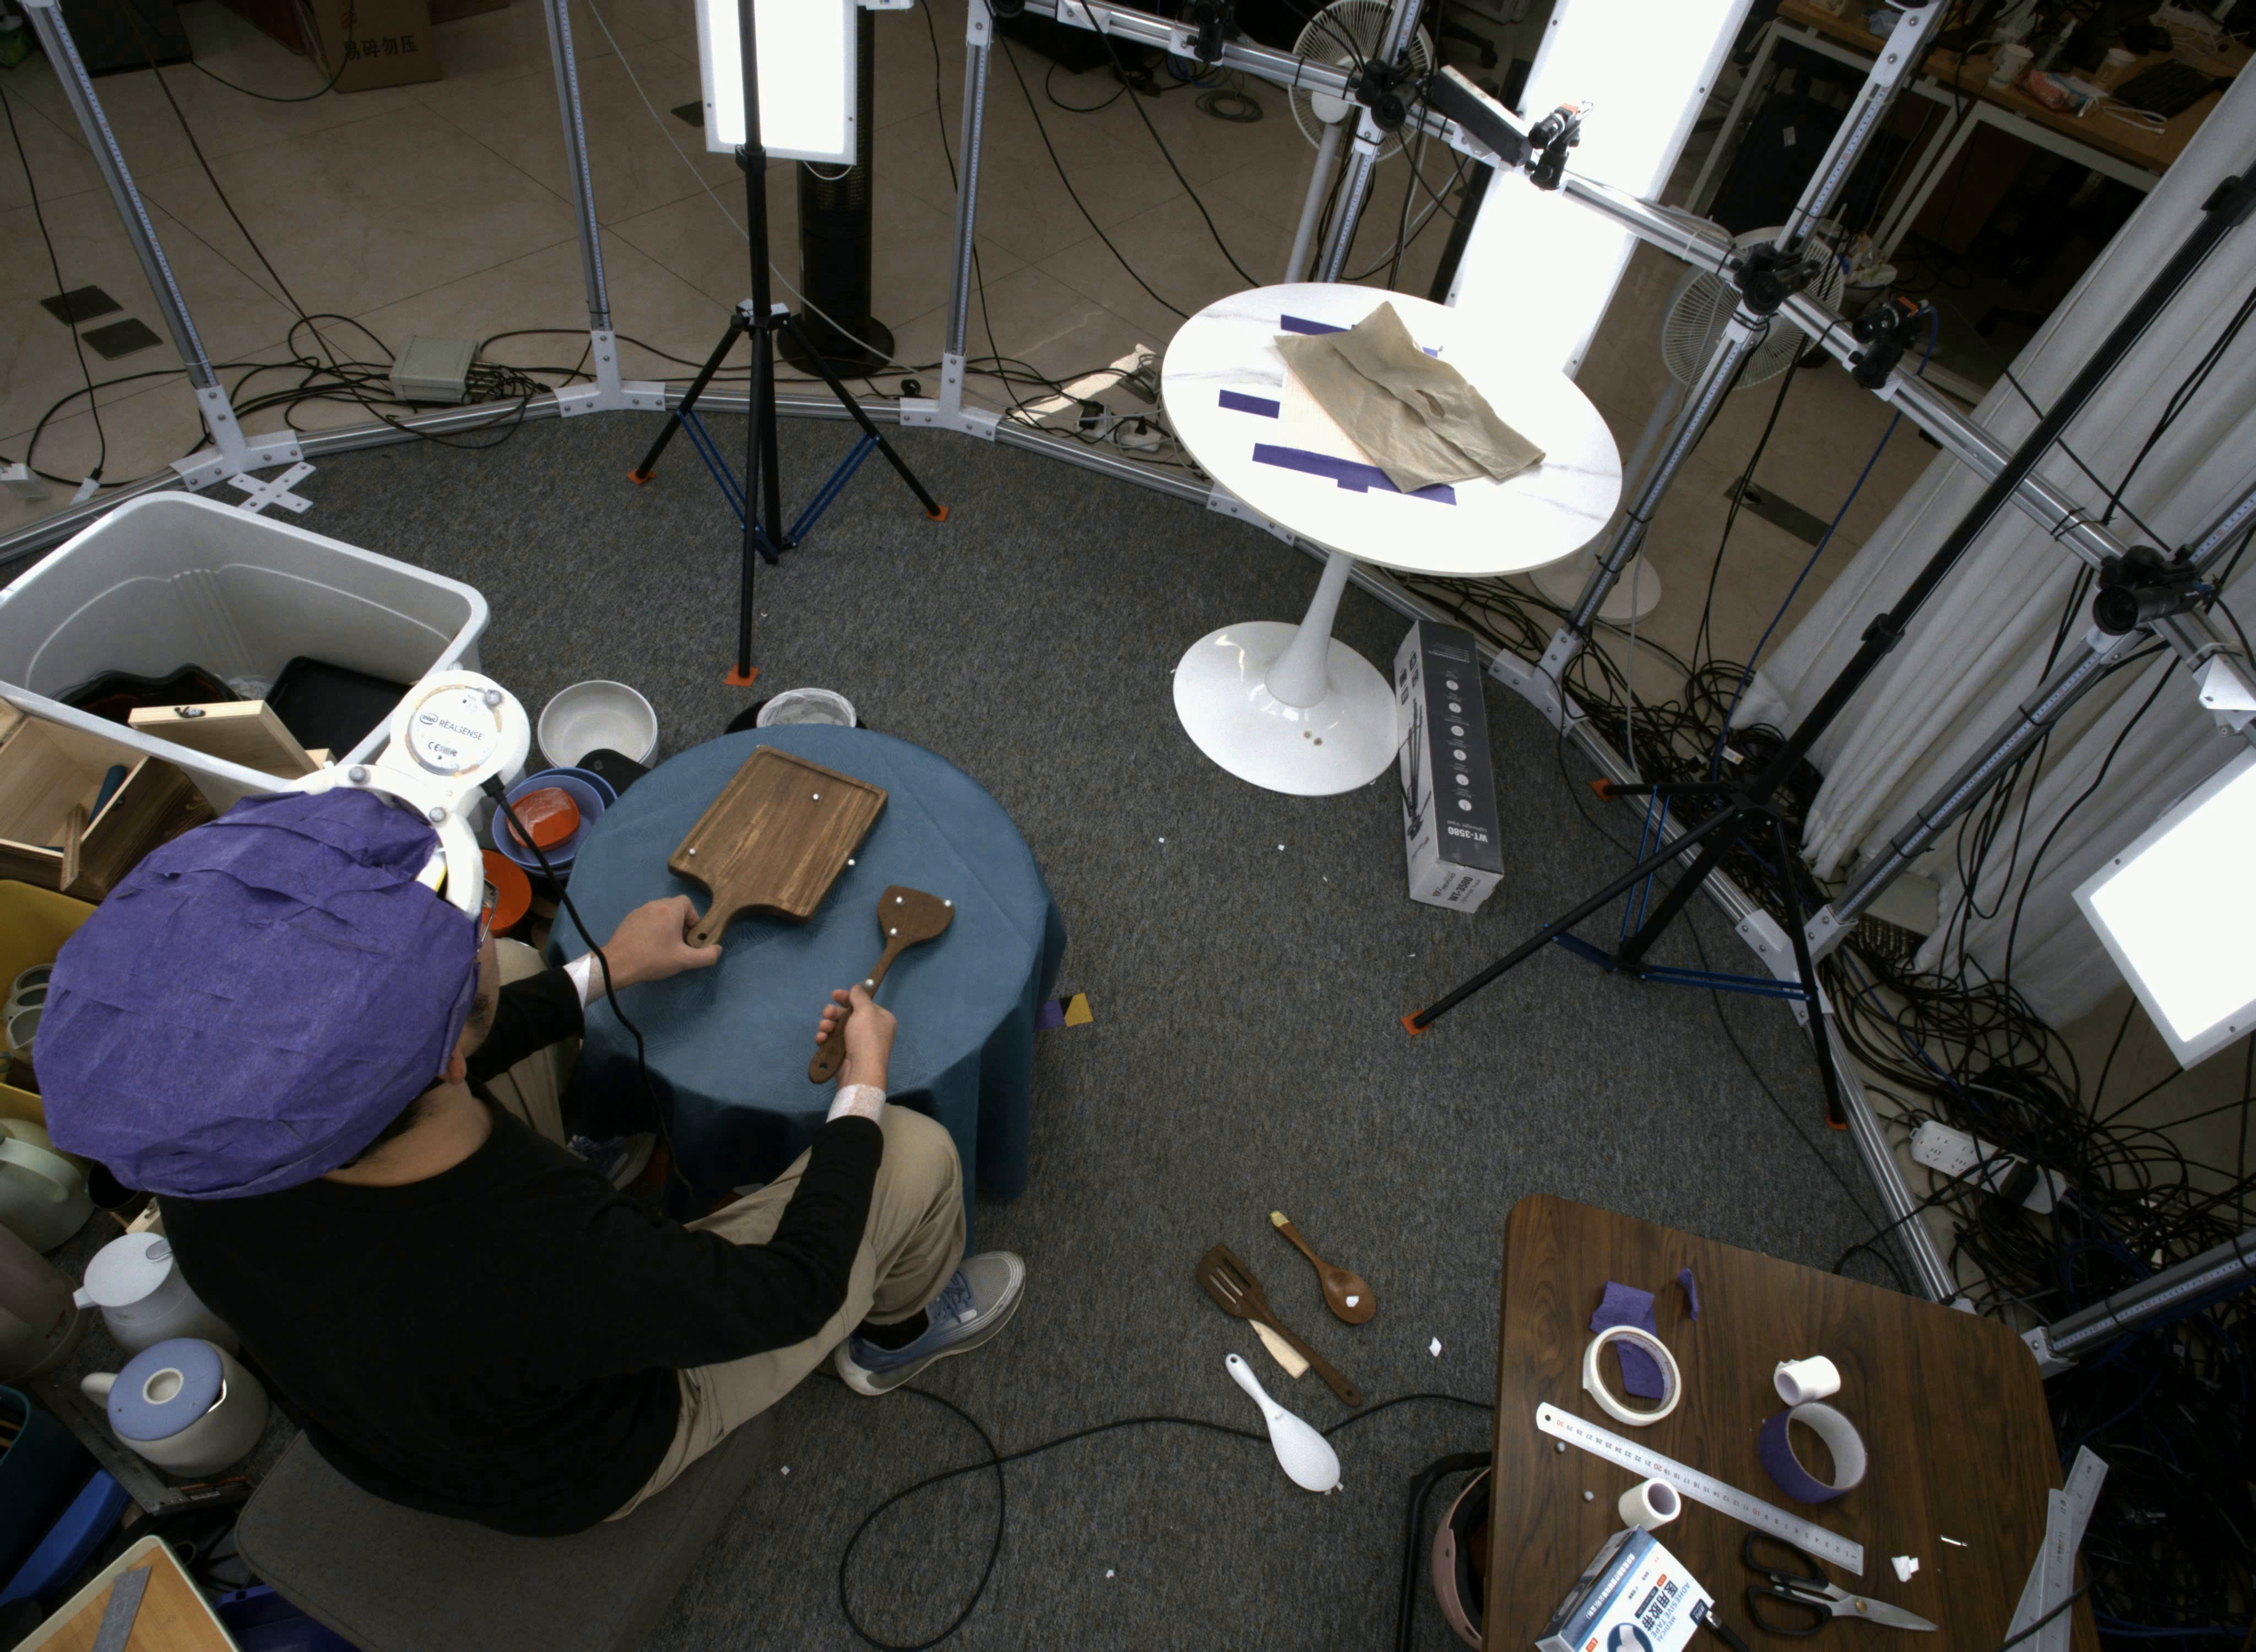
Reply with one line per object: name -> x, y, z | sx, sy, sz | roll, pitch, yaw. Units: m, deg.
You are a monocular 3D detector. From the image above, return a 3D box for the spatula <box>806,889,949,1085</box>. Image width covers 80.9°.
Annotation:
spatula -> -0.301, 0.178, 1.526 | 0.095, 0.016, 0.381 | 20, 28, -1

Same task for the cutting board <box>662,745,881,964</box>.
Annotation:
cutting board -> -0.470, 0.037, 1.643 | 0.199, 0.024, 0.348 | 21, 45, 1
